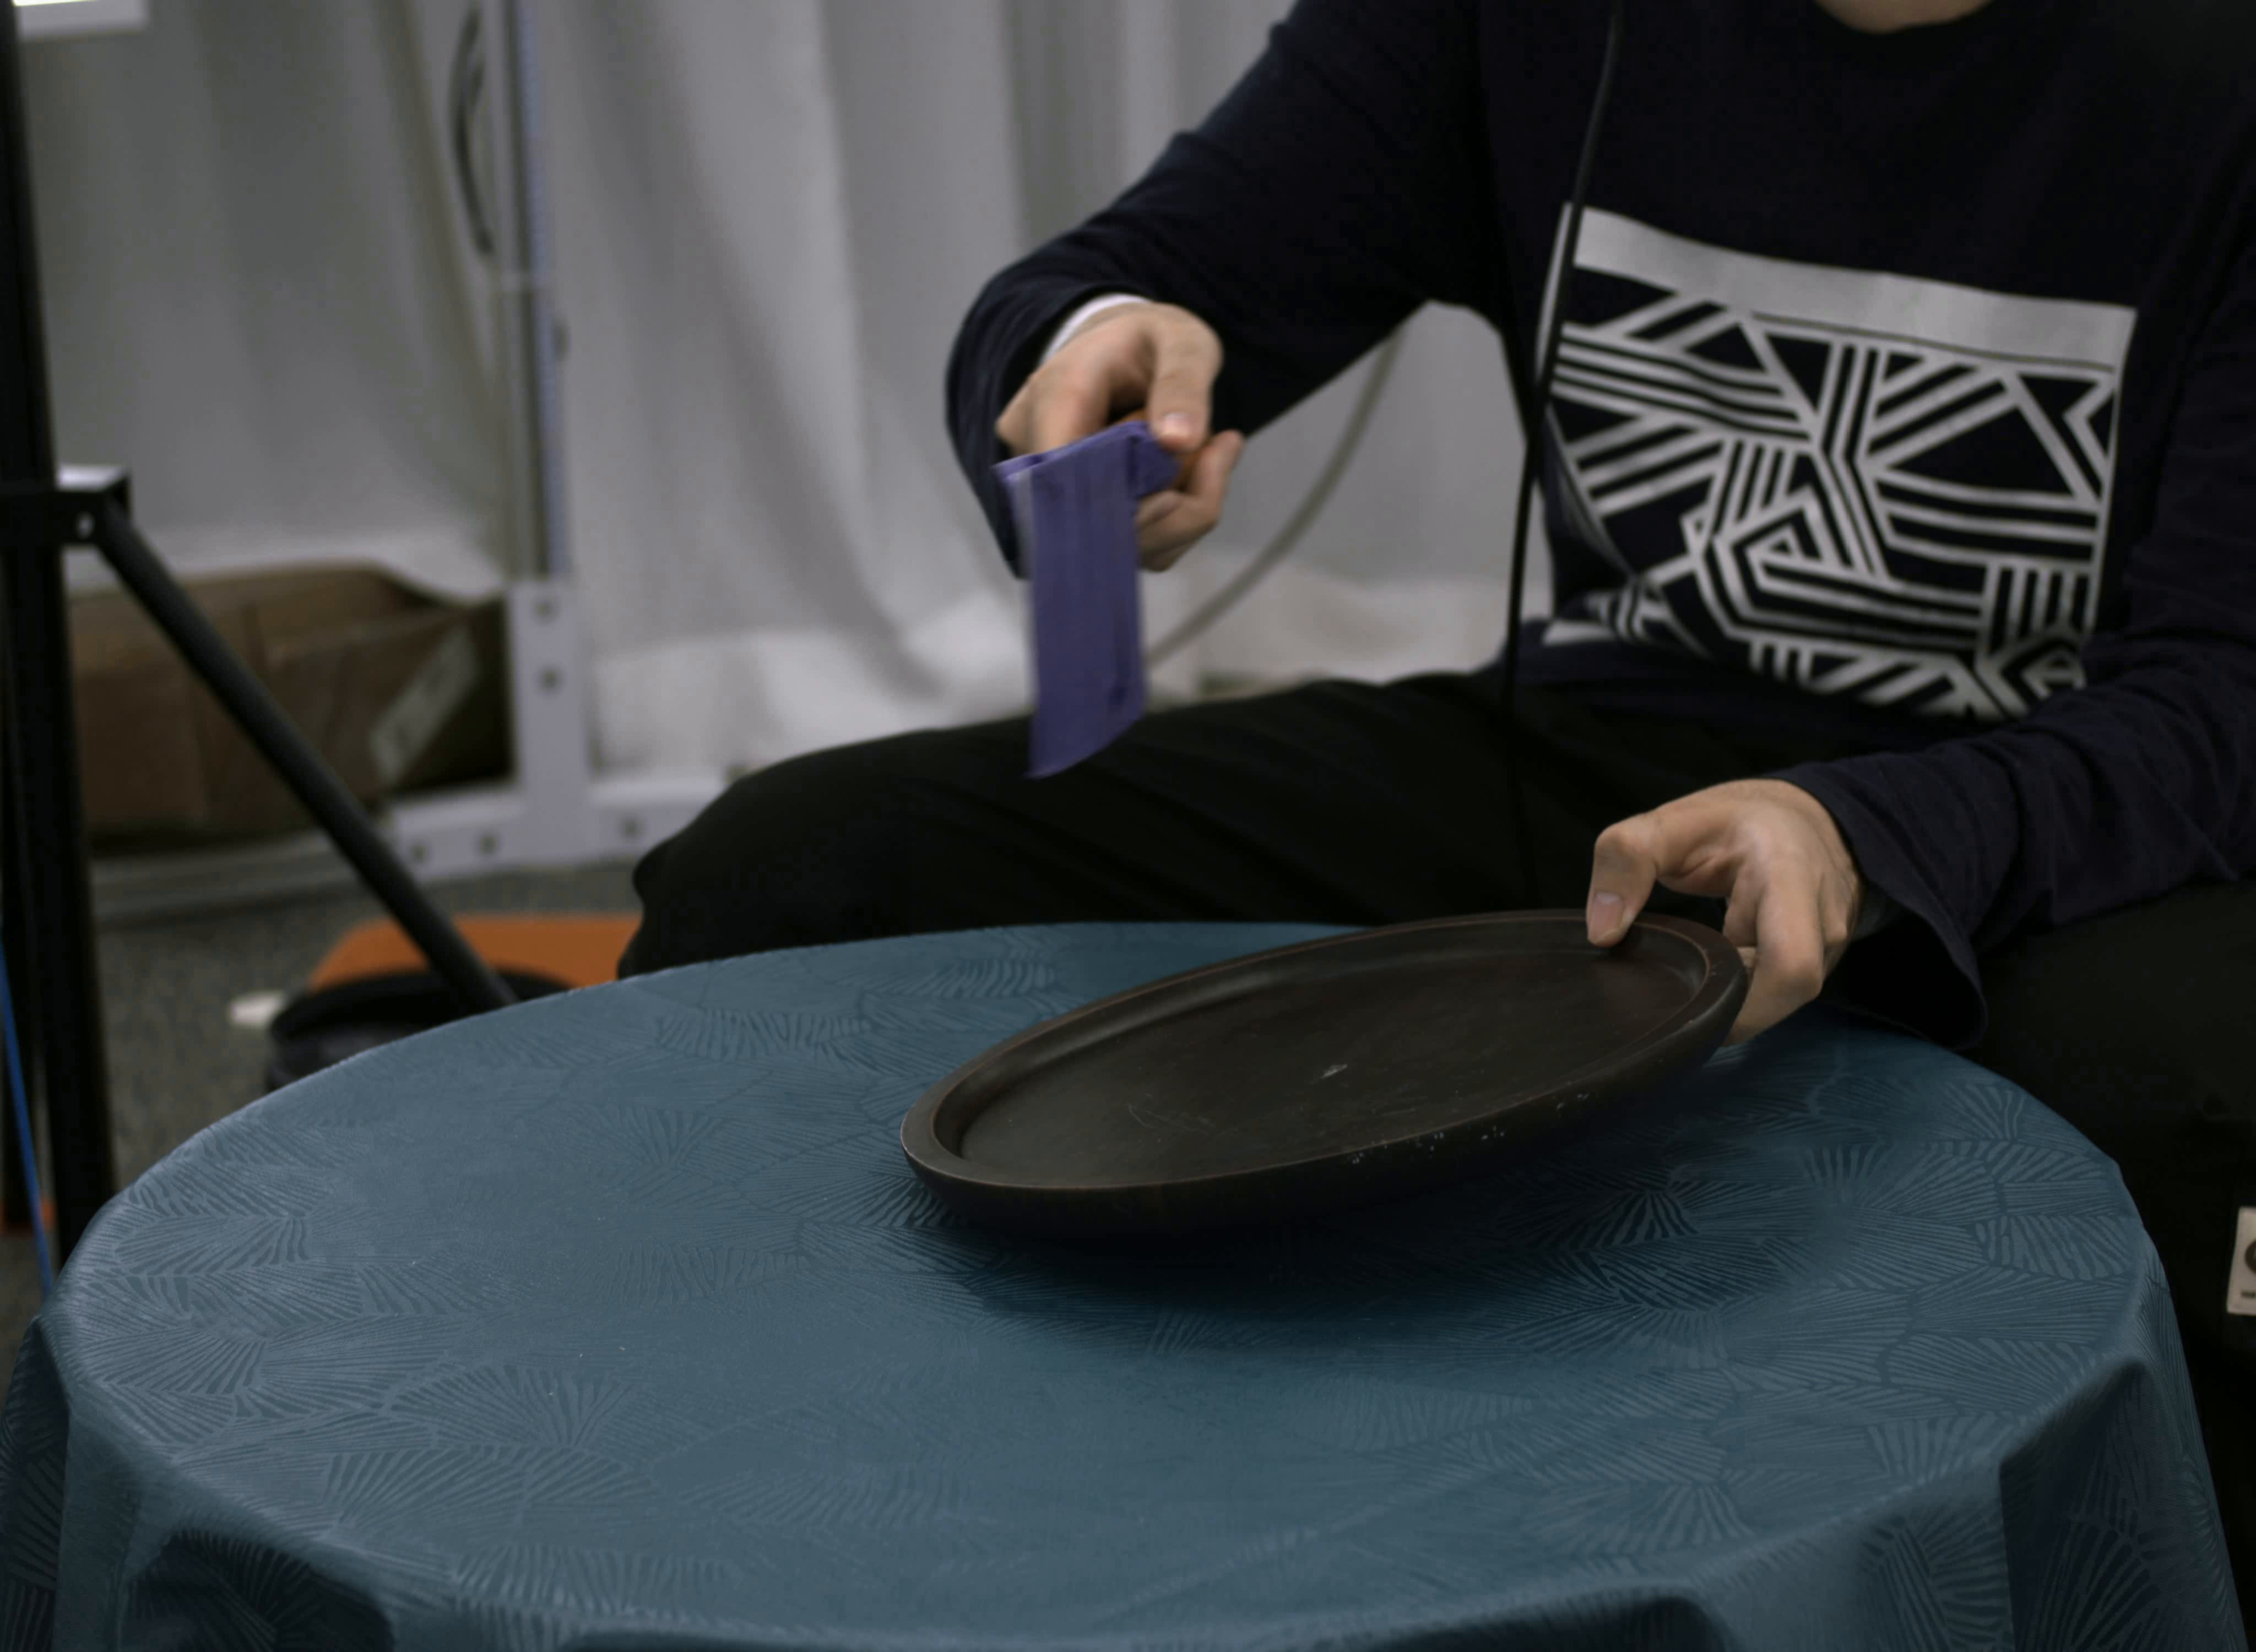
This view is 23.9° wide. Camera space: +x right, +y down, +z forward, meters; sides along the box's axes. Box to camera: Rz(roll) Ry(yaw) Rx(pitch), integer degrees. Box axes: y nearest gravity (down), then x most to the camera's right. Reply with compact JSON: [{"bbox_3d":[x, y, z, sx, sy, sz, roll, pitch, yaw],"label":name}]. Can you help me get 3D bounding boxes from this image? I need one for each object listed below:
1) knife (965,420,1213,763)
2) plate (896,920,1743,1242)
[{"bbox_3d":[-0.013,-0.075,1.638,0.032,0.104,0.312,0,6,11],"label":"knife"},{"bbox_3d":[0.057,0.073,1.559,0.254,0.029,0.256,-13,13,1],"label":"plate"}]
